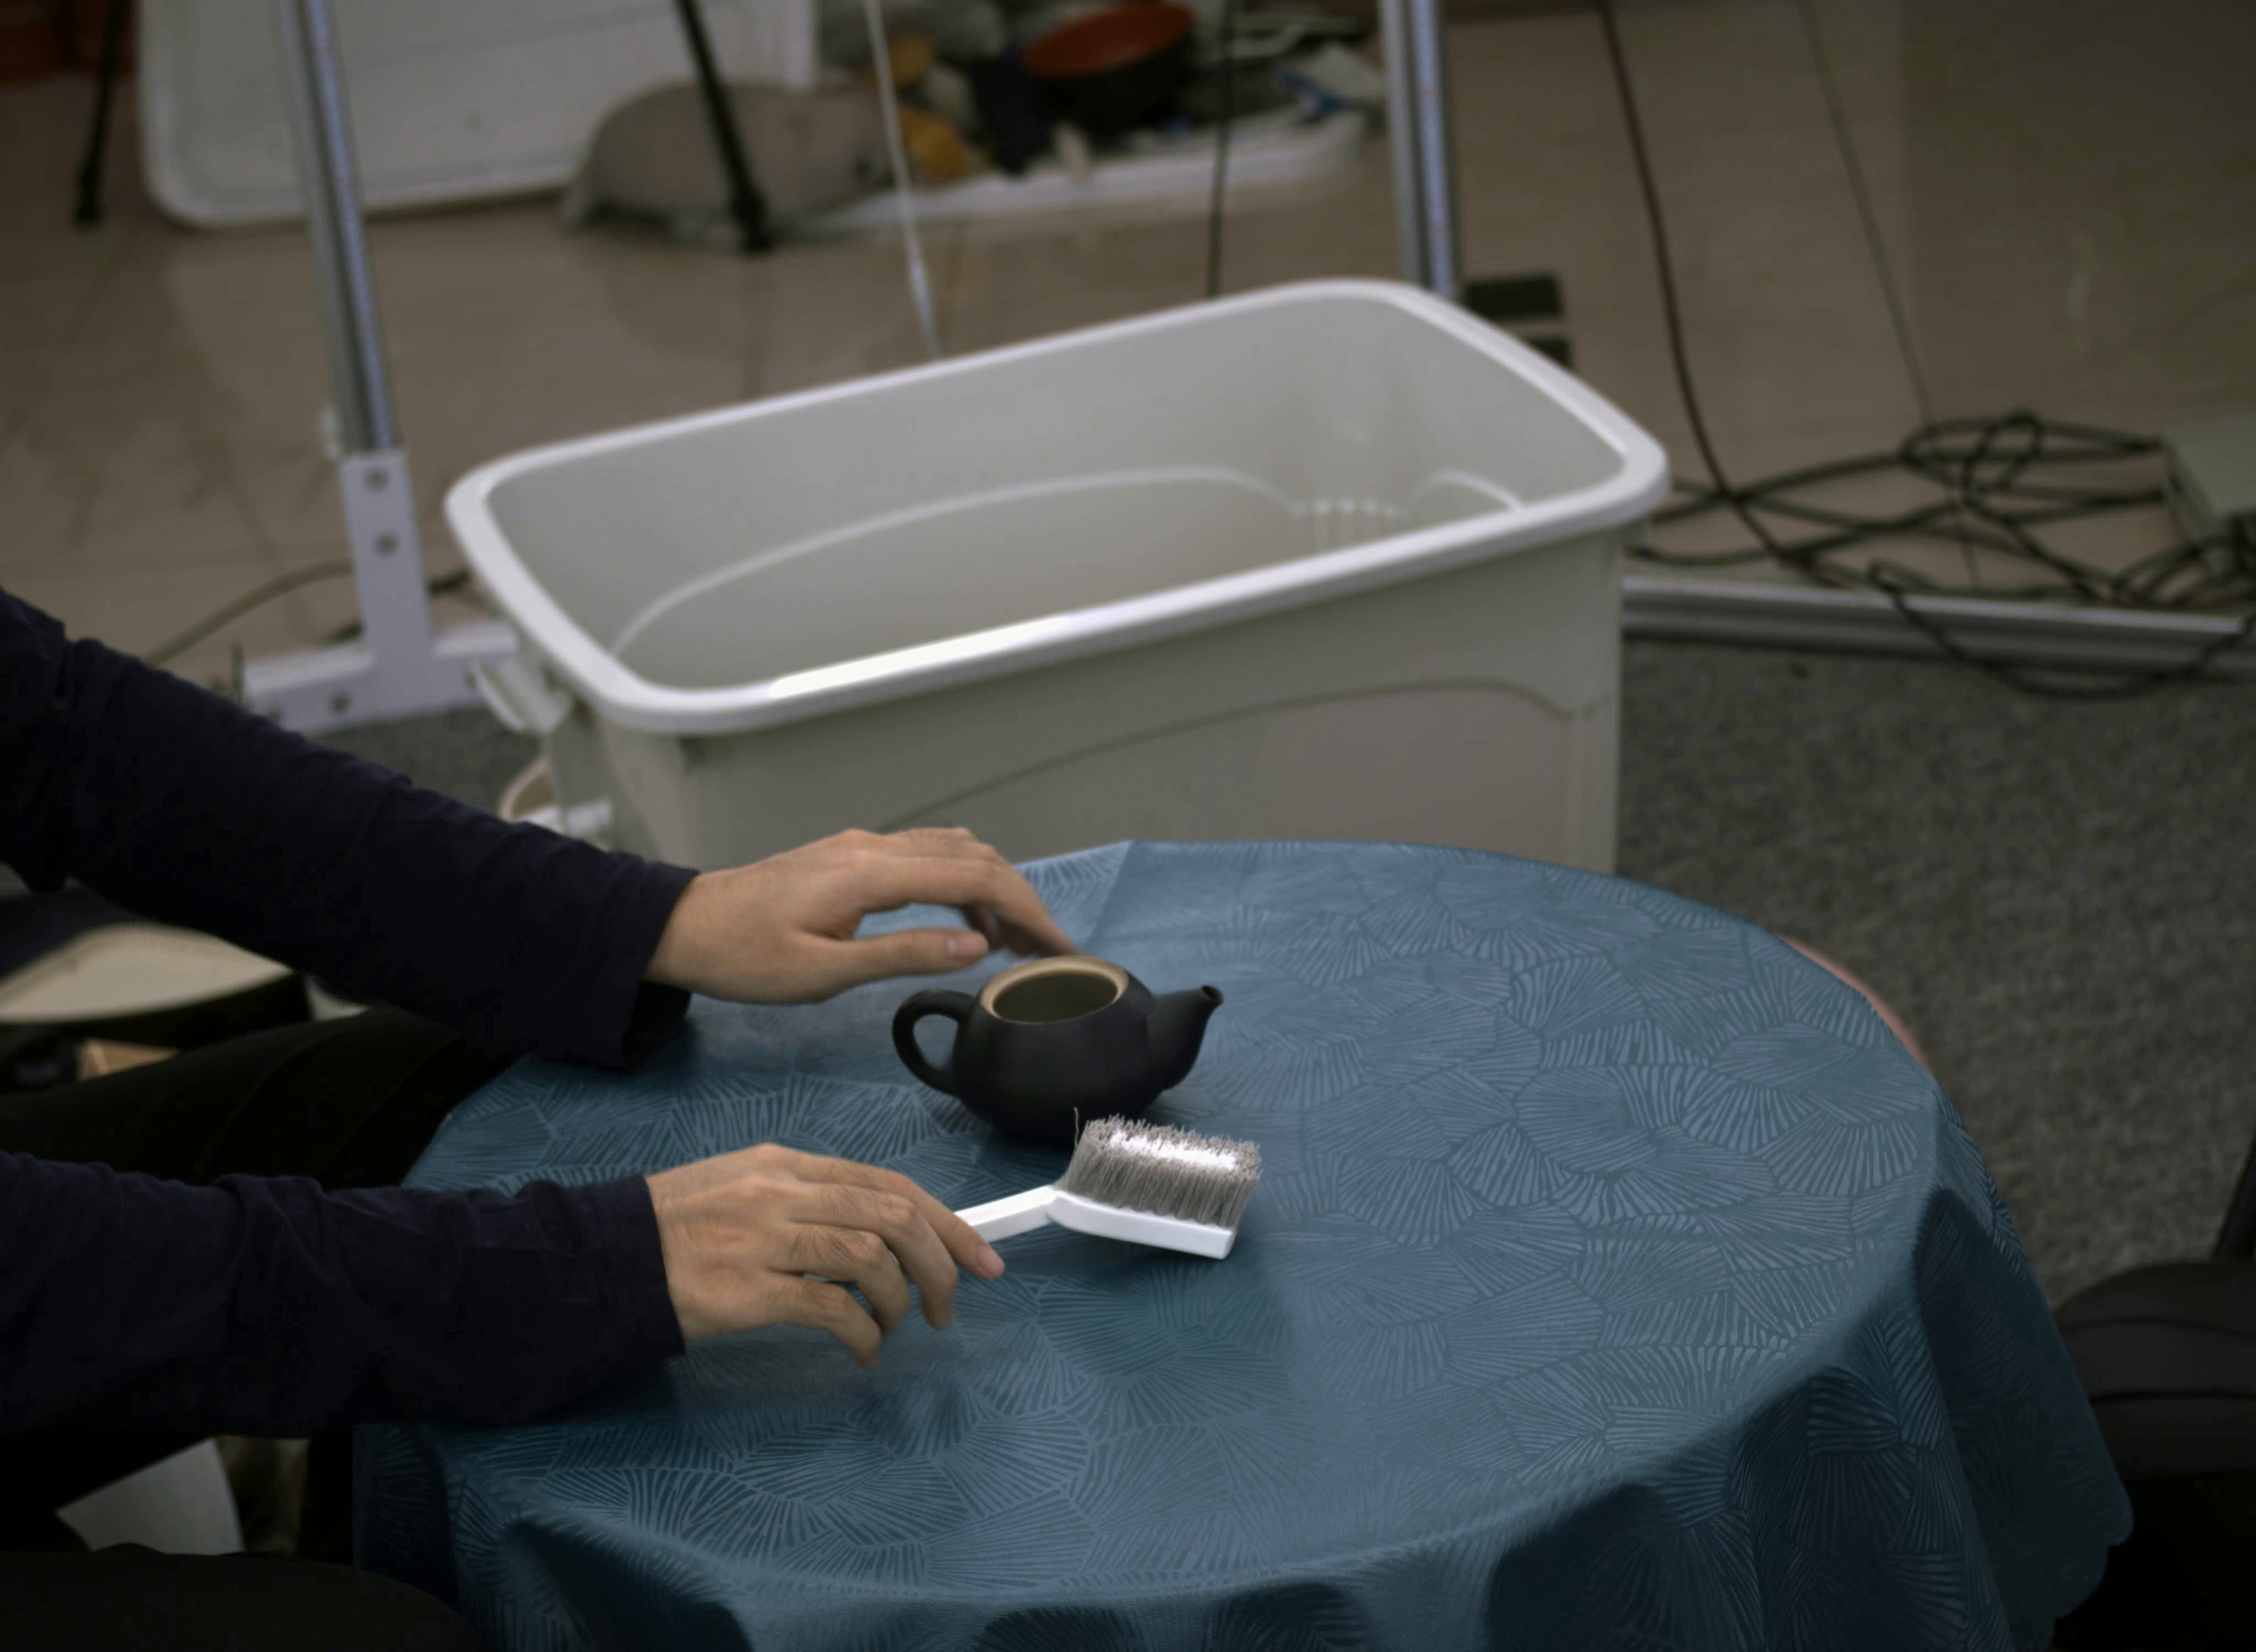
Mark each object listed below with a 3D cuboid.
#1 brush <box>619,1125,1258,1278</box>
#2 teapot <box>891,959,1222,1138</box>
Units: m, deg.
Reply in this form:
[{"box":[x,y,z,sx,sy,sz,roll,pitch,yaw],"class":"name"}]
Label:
[{"box":[-0.072,0.140,2.105,0.243,0.051,0.034,-3,31,7],"class":"brush"},{"box":[-0.027,0.087,2.203,0.133,0.054,0.090,-1,22,12],"class":"teapot"}]
